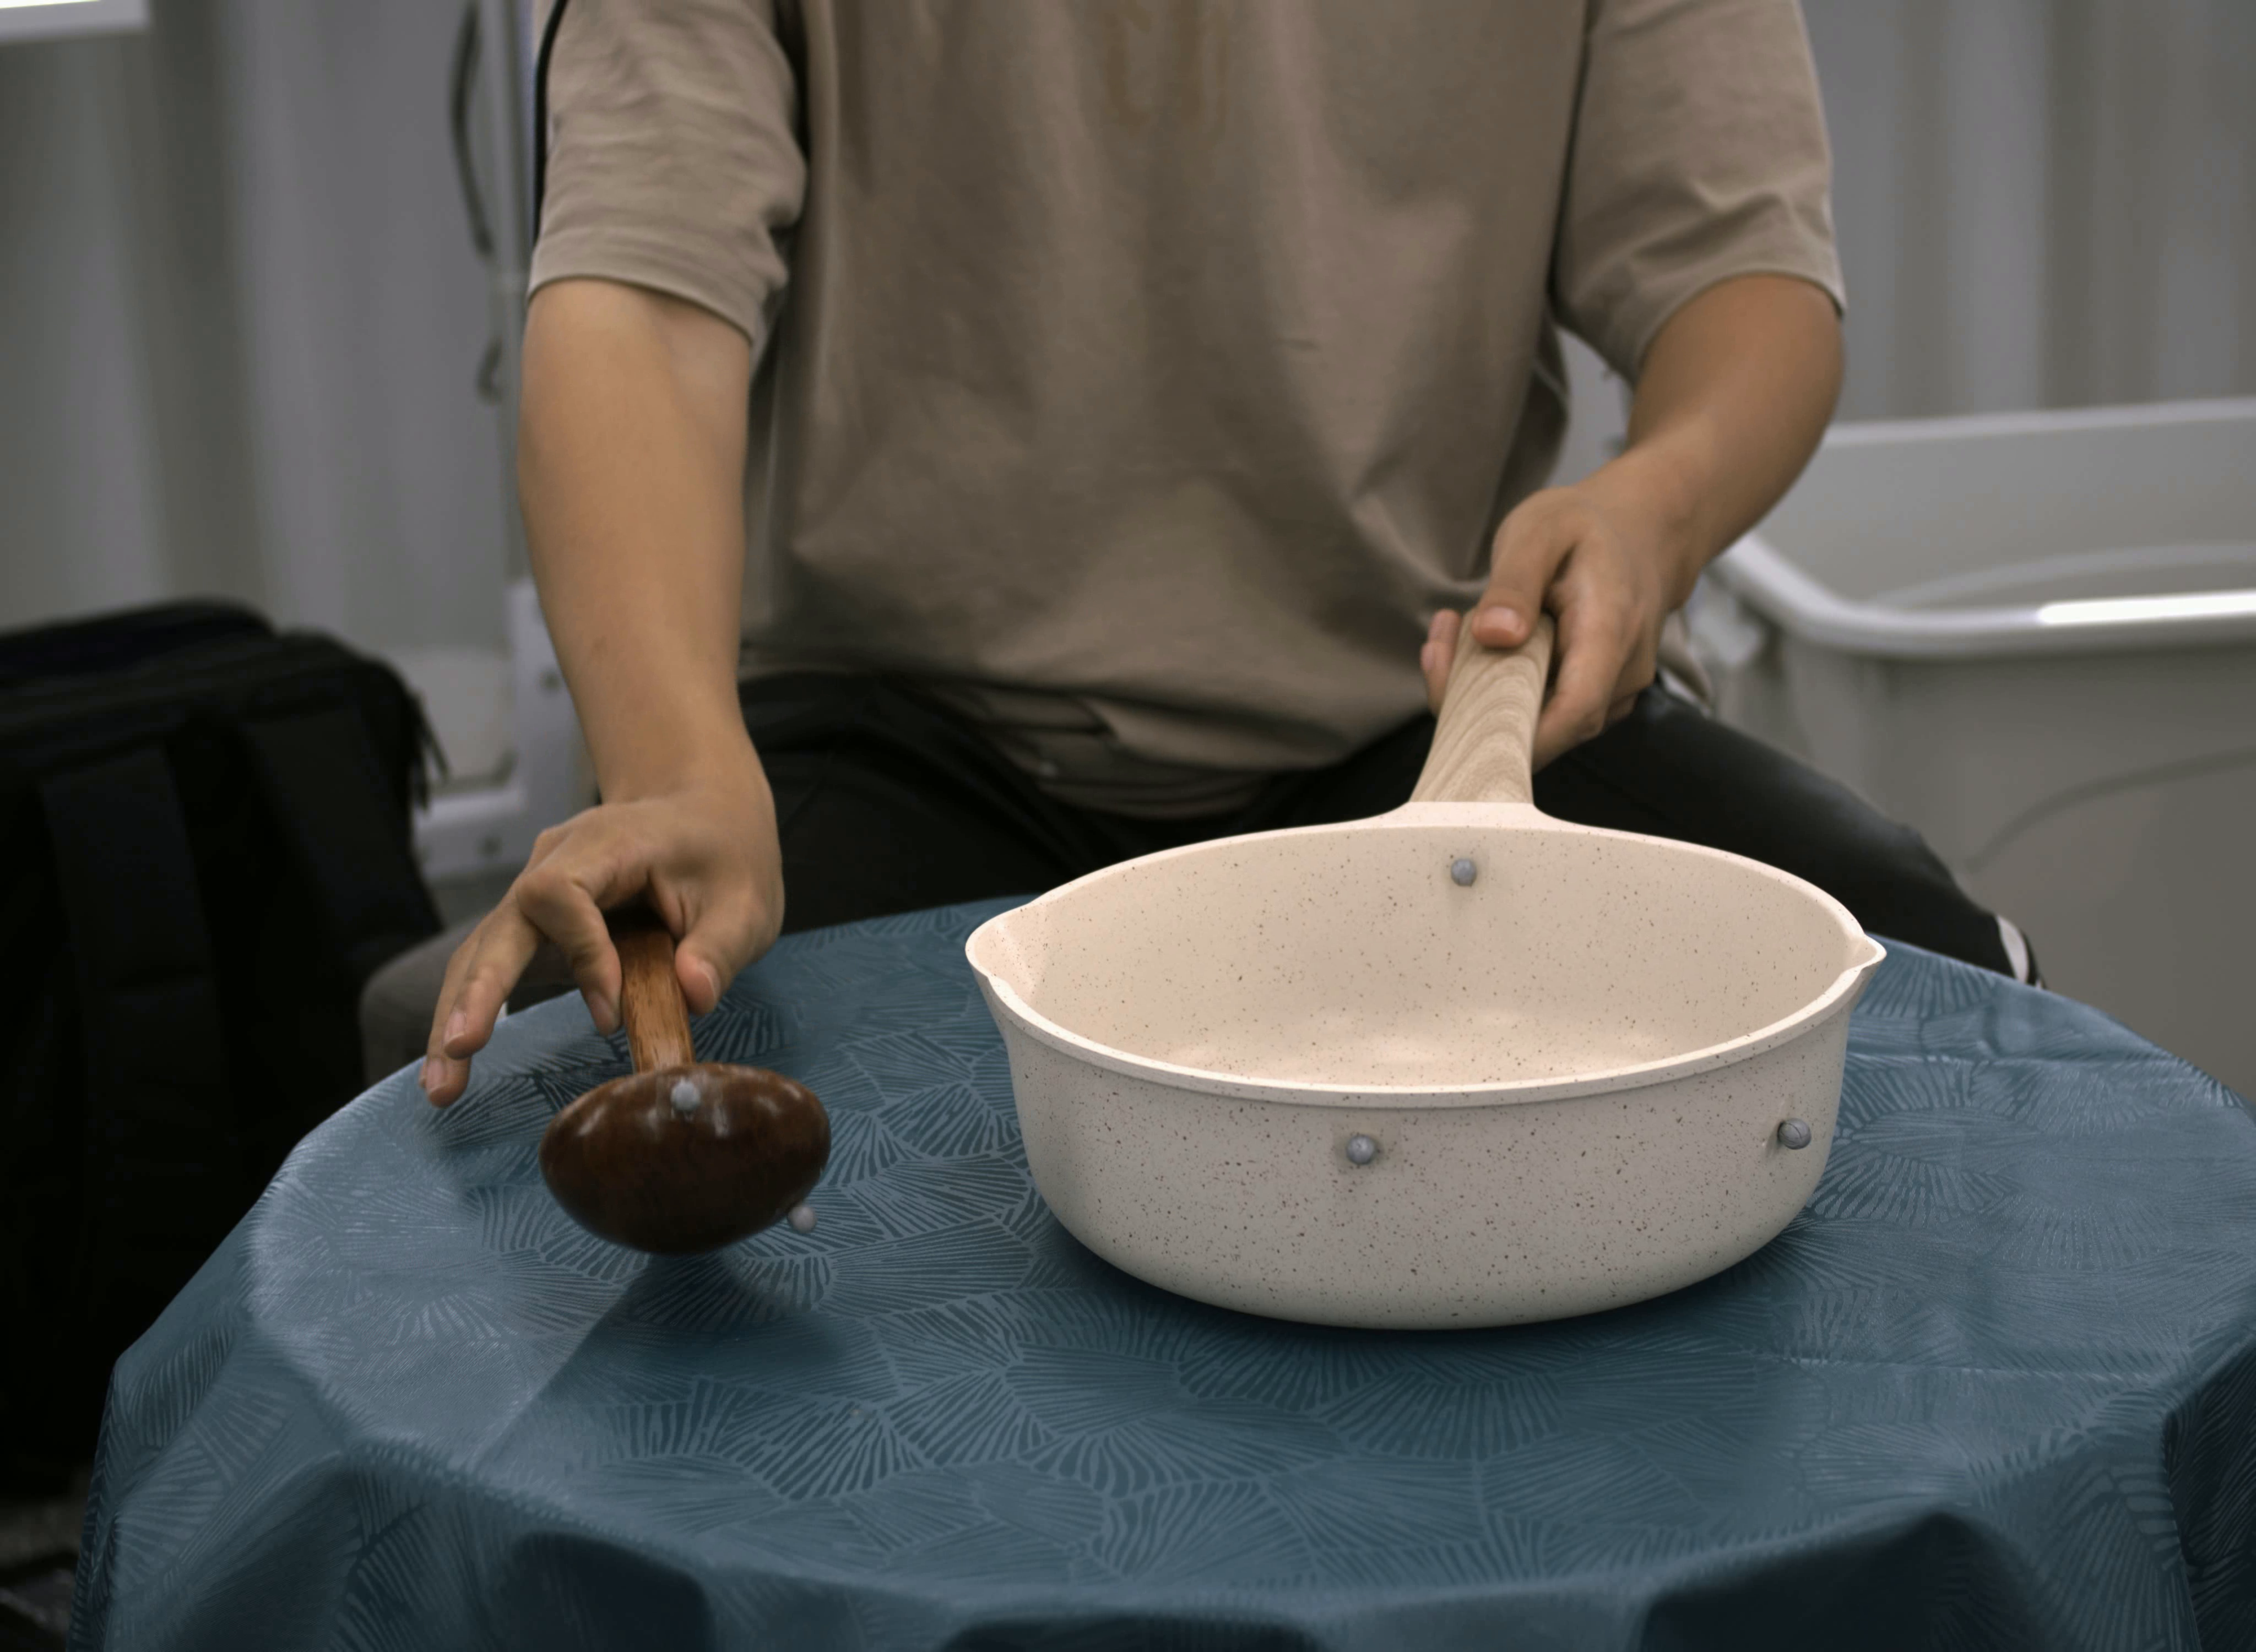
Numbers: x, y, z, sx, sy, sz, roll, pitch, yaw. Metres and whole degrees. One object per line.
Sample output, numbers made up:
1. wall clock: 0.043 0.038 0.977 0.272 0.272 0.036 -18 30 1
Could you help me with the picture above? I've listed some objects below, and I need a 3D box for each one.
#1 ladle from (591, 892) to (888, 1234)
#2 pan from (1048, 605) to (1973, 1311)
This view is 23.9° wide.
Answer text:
1. ladle: -0.118 0.046 1.559 0.081 0.076 0.277 0 22 -7
2. pan: 0.122 0.035 1.600 0.264 0.102 0.433 -1 16 9
